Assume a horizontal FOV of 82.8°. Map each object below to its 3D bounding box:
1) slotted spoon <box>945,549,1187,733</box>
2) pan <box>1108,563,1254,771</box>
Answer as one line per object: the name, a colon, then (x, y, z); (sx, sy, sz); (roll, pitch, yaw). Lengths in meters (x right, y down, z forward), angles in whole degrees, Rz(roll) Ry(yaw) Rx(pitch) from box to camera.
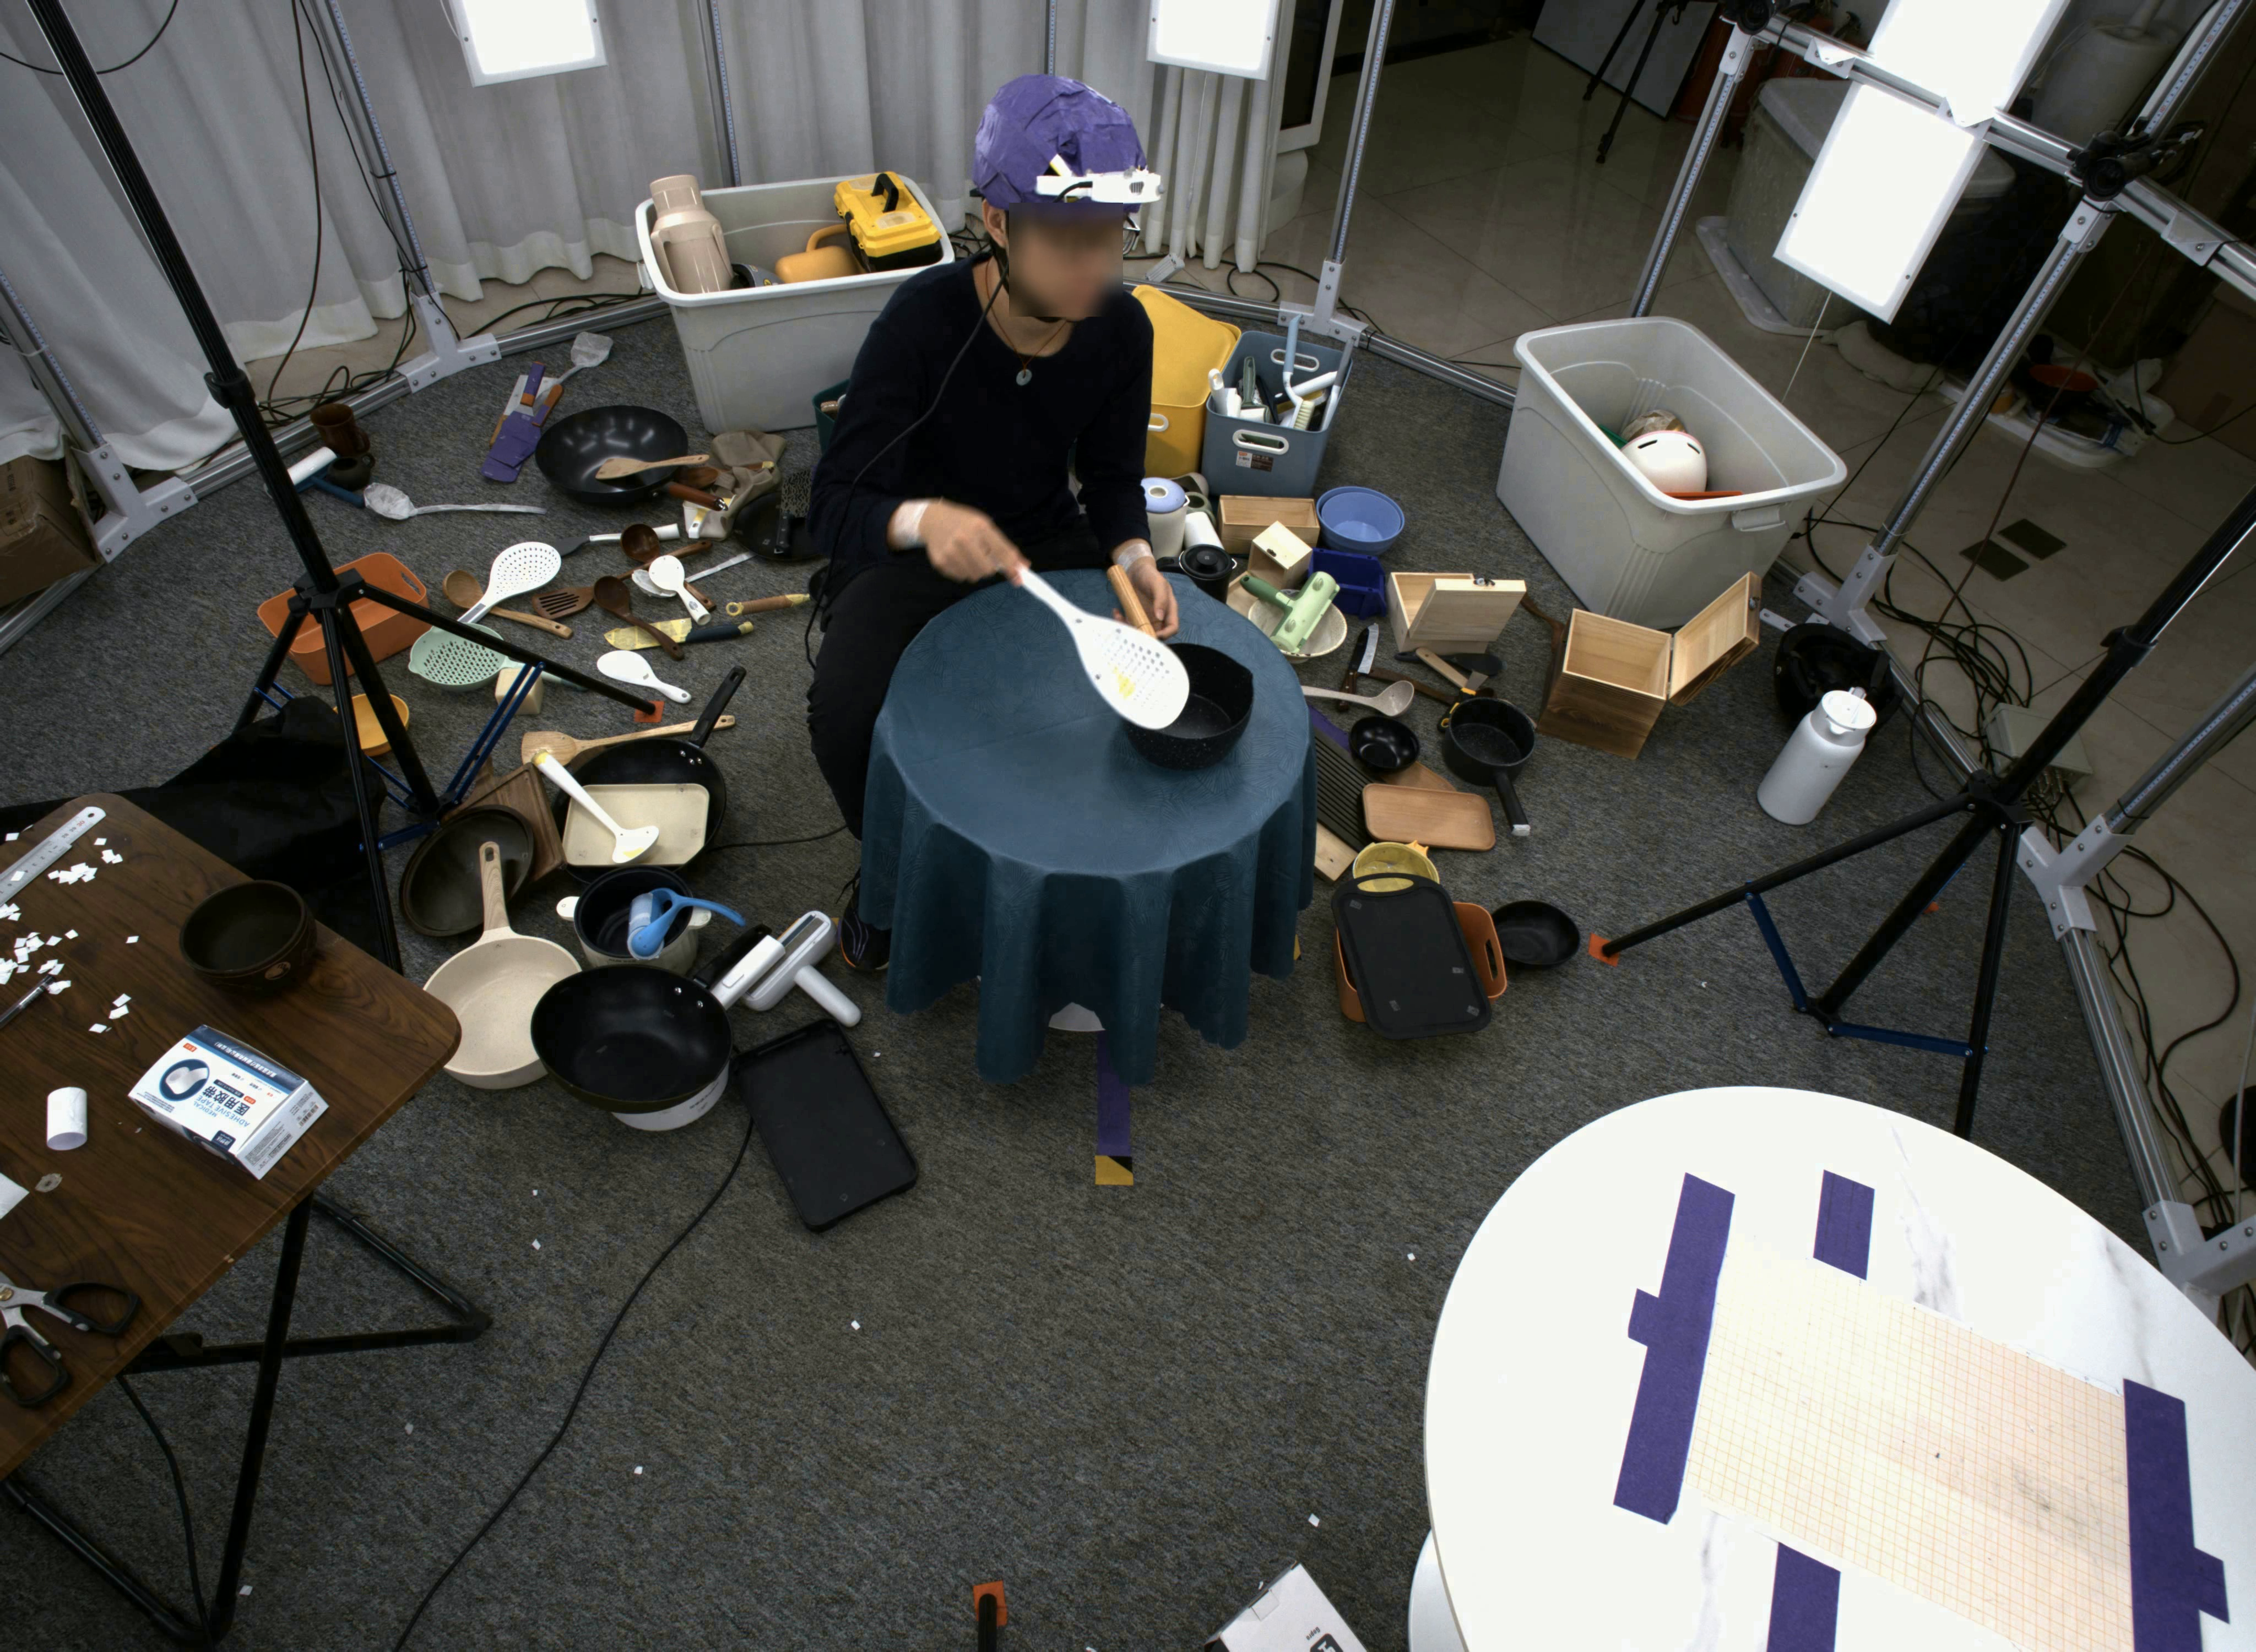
slotted spoon: (-0.077, -0.241, 1.596); (0.346, 0.050, 0.139); (41, 52, -8)
pan: (0.043, -0.223, 1.795); (0.208, 0.105, 0.350); (-18, 54, -17)
